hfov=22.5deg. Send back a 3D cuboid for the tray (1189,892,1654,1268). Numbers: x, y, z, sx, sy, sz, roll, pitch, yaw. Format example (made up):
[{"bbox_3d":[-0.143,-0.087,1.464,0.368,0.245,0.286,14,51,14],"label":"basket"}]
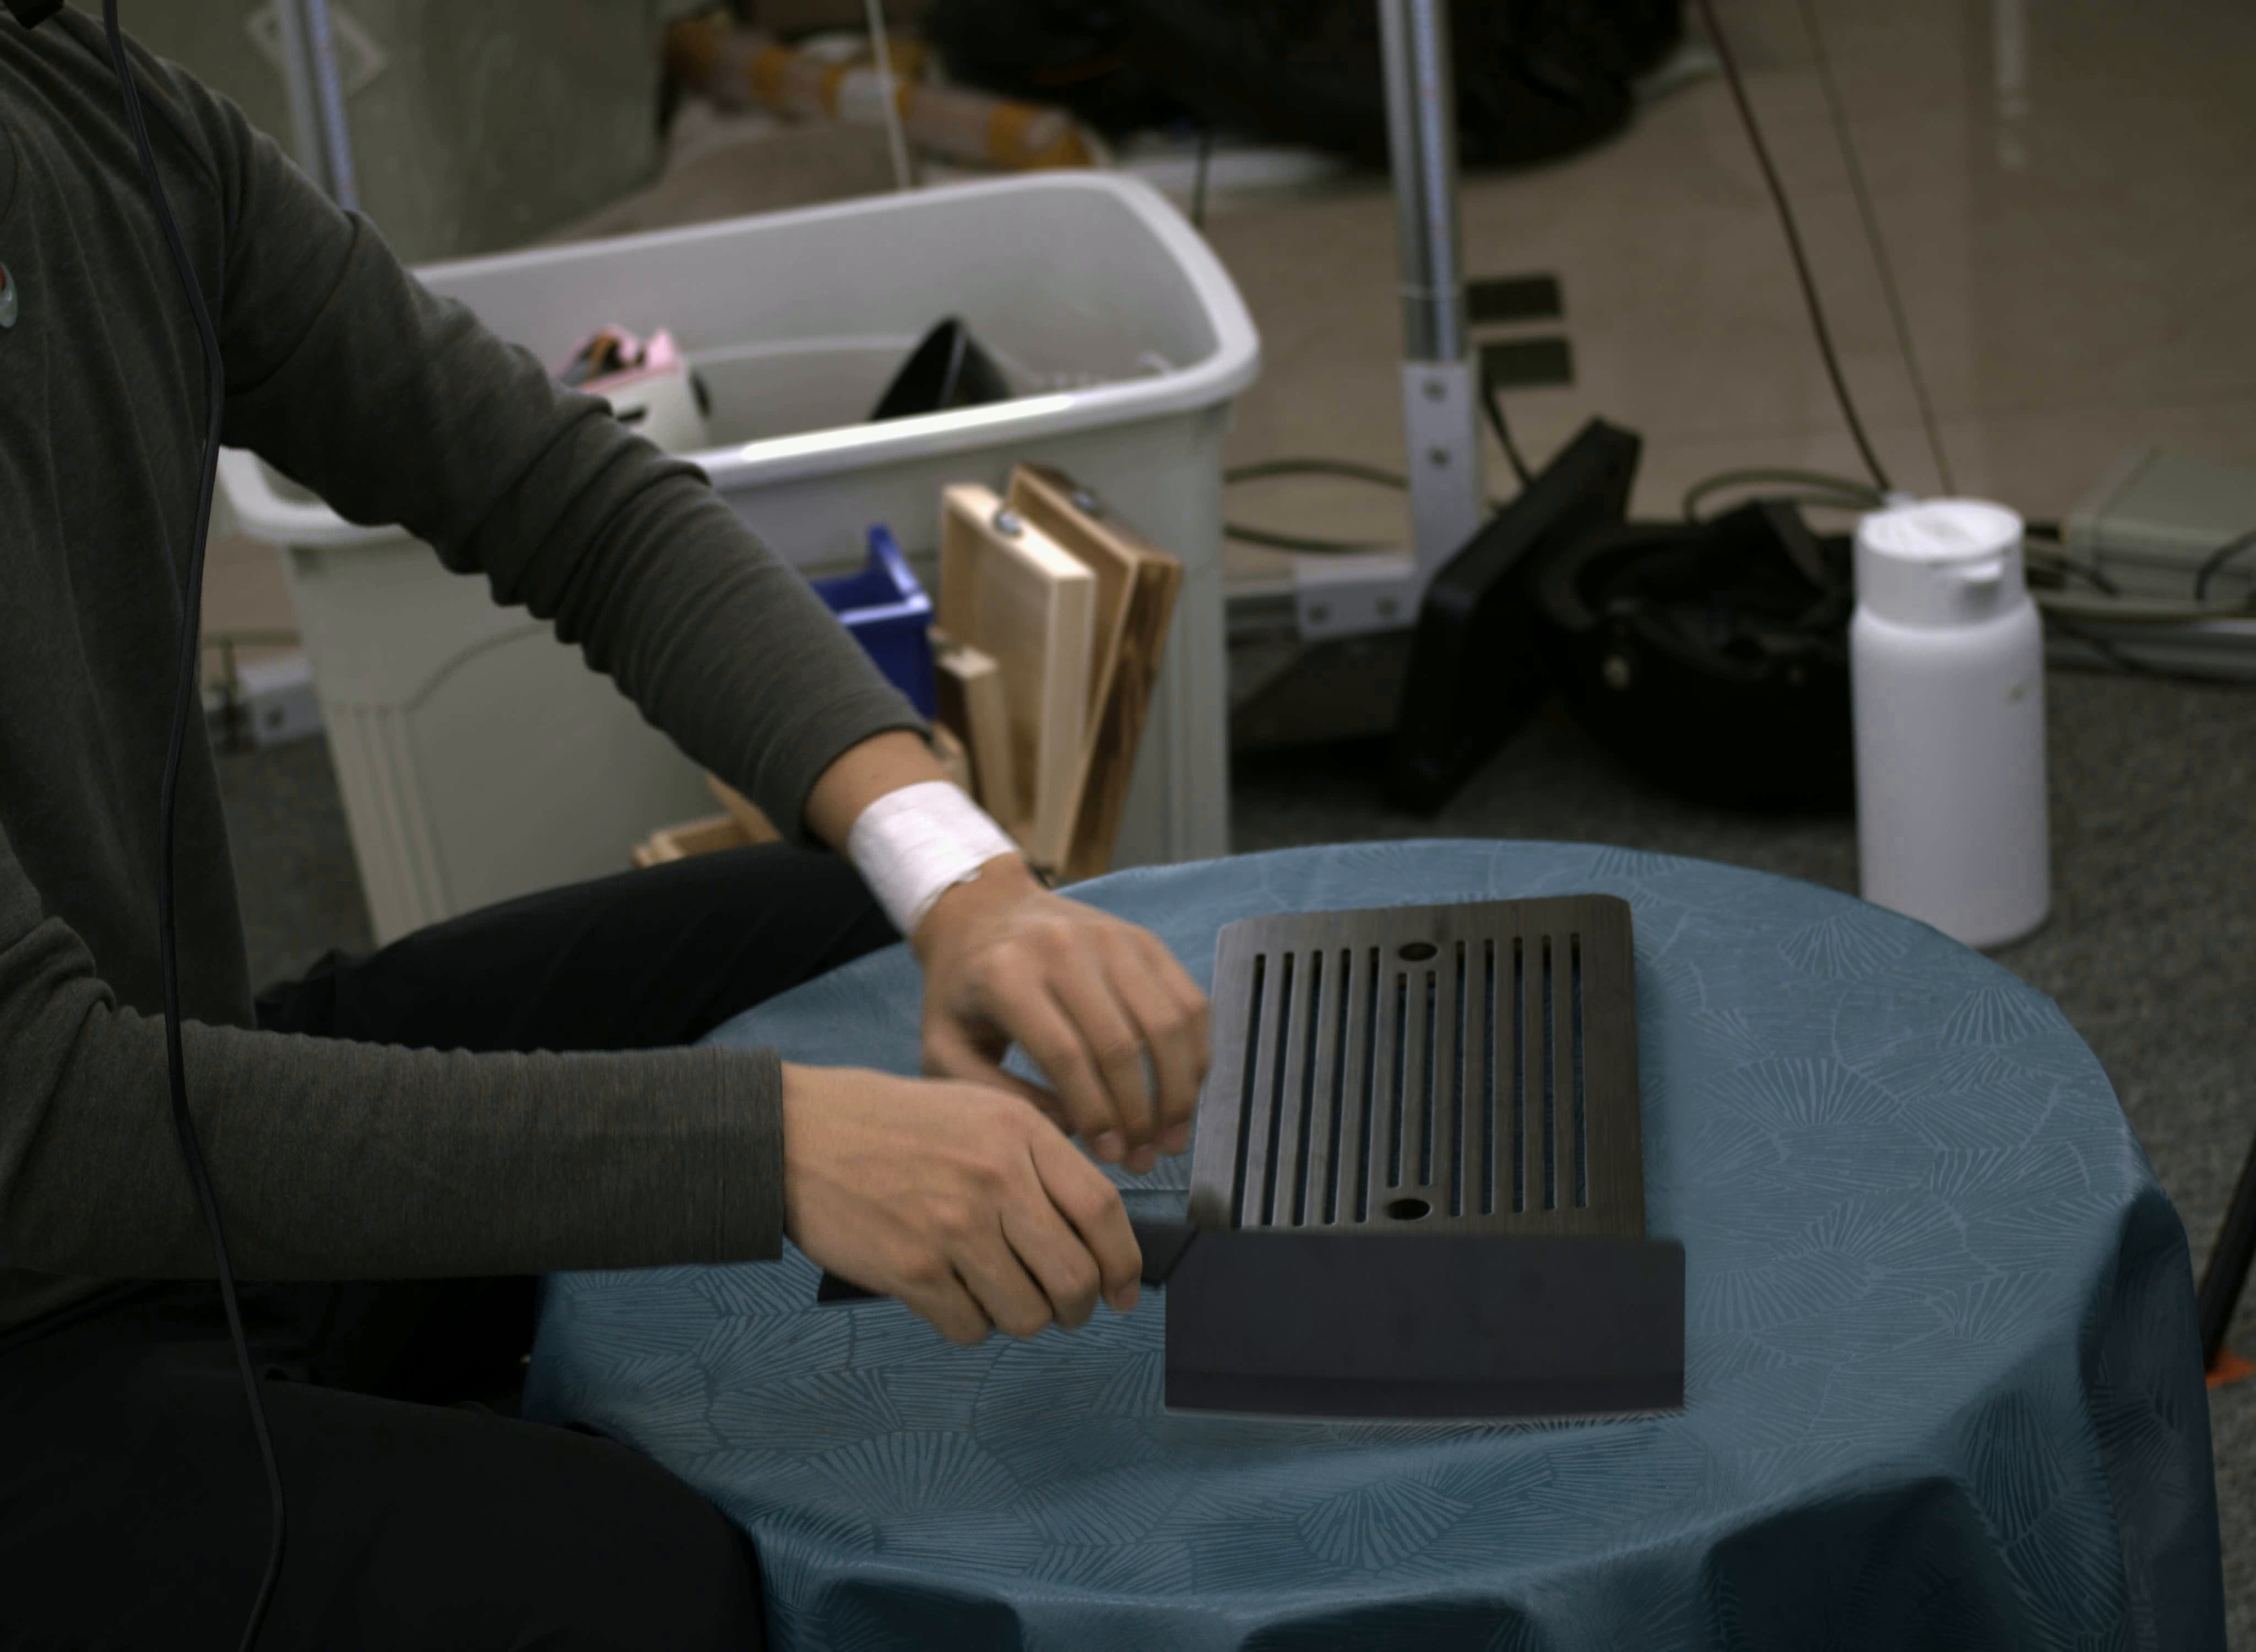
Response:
[{"bbox_3d":[0.115,0.102,2.181,0.170,0.019,0.301,-5,24,7],"label":"tray"}]

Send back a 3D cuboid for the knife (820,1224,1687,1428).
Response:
[{"bbox_3d":[0.044,0.172,1.971,0.302,0.021,0.080,5,65,1],"label":"knife"}]
